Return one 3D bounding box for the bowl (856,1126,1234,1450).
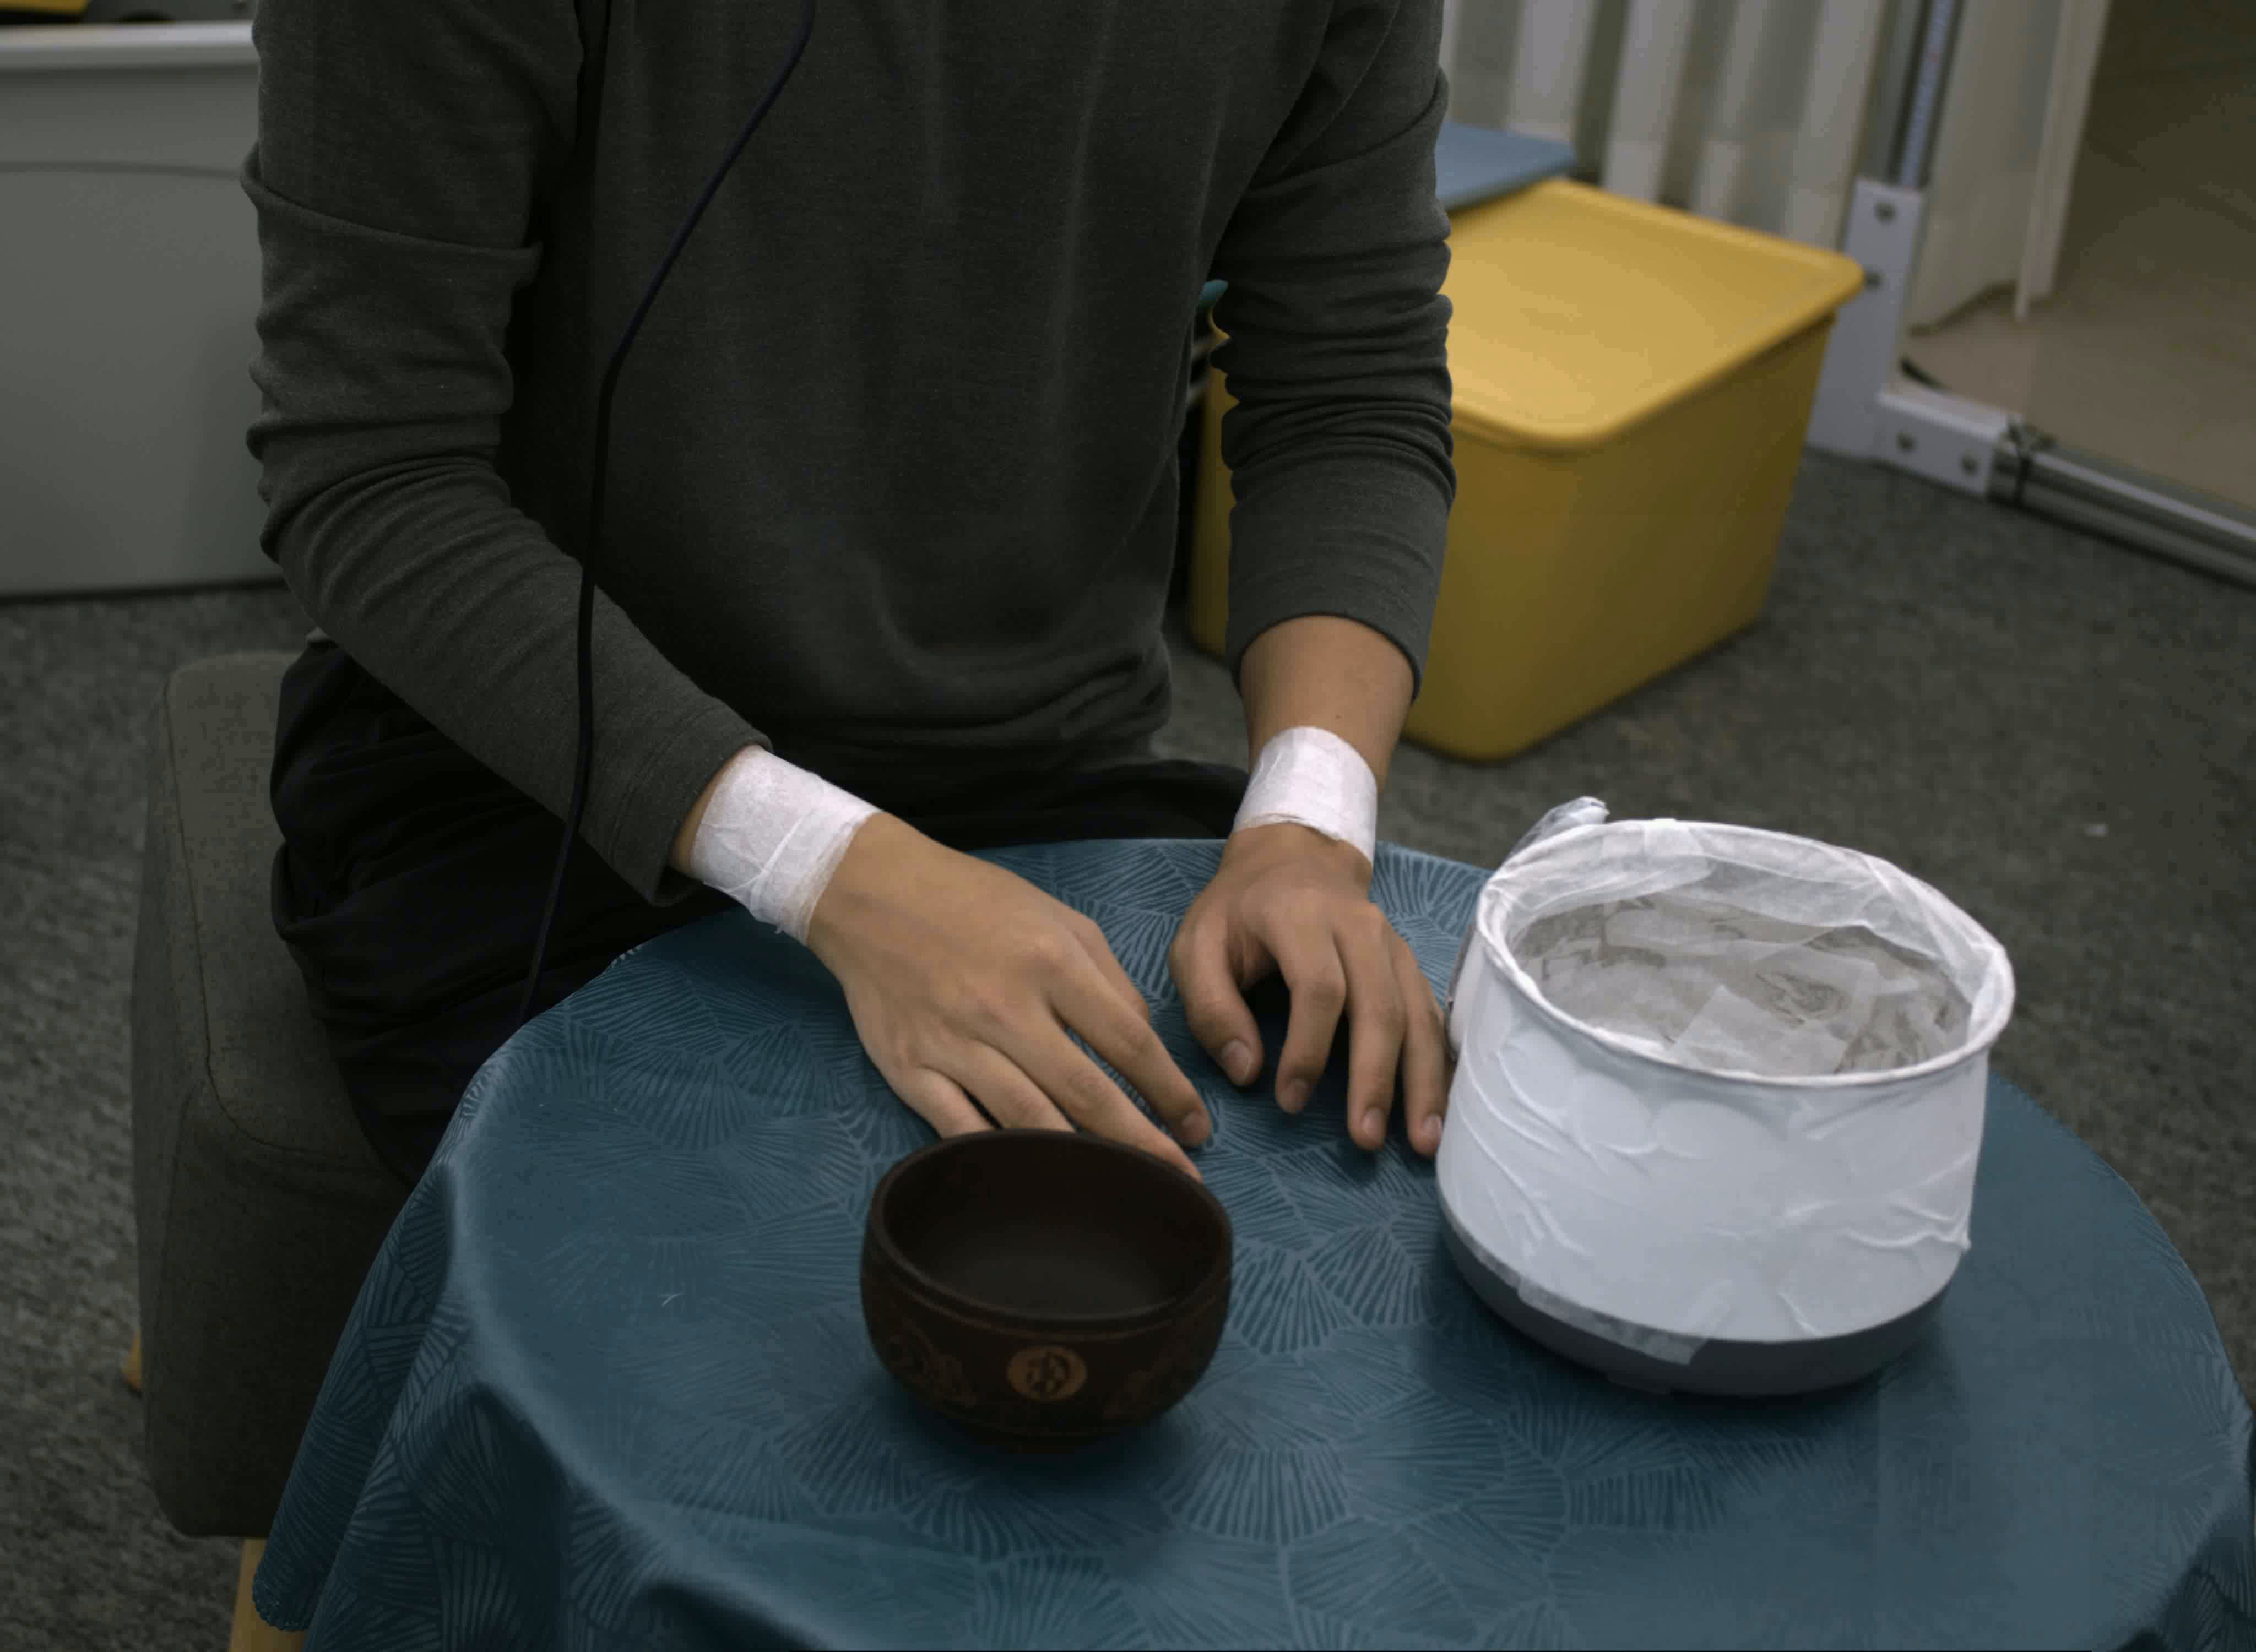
[{"bbox_3d":[-0.027,0.152,1.665,0.117,0.069,0.119,4,25,-2],"label":"bowl"}]

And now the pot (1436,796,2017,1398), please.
[{"bbox_3d":[0.181,0.083,1.777,0.177,0.136,0.236,-8,29,-28],"label":"pot"}]
